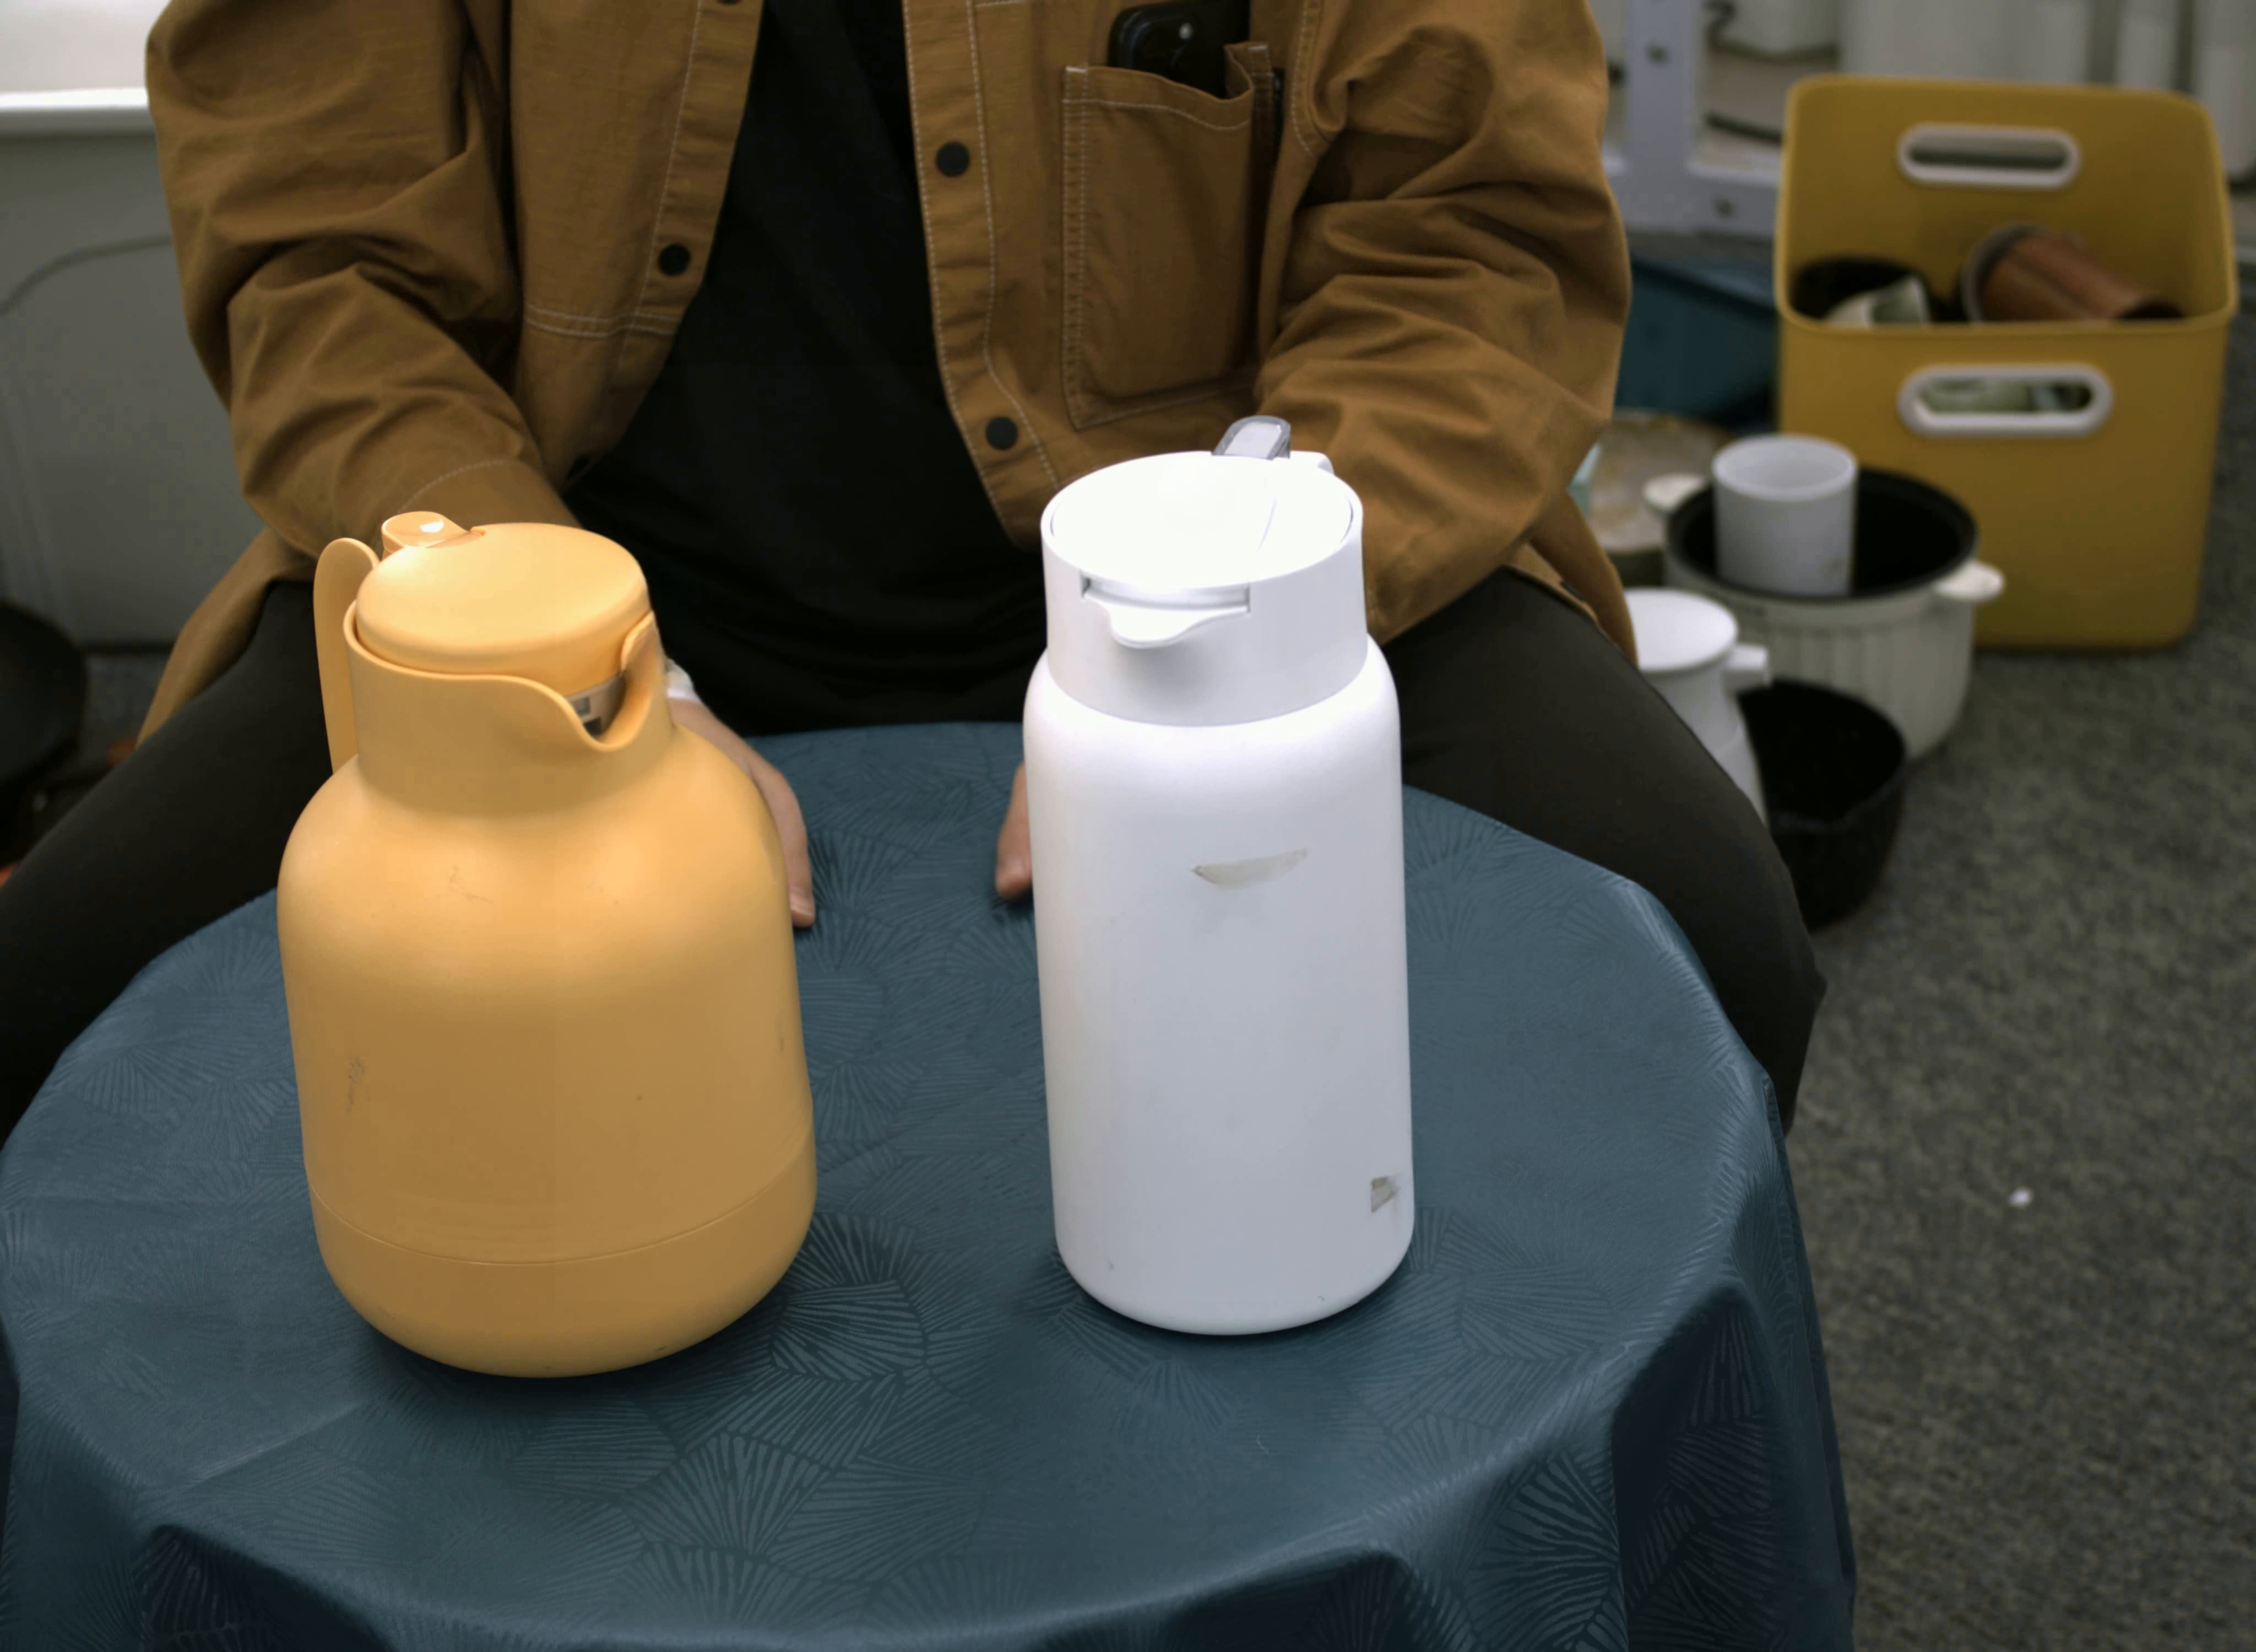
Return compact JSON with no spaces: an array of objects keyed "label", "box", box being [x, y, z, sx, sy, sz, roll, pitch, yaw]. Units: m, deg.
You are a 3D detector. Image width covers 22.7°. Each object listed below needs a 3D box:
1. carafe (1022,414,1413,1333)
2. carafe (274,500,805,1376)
[{"label":"carafe","box":[0.032,0.012,1.781,0.123,0.266,0.176,3,27,16]},{"label":"carafe","box":[-0.195,0.025,1.783,0.164,0.257,0.203,-14,29,-27]}]
